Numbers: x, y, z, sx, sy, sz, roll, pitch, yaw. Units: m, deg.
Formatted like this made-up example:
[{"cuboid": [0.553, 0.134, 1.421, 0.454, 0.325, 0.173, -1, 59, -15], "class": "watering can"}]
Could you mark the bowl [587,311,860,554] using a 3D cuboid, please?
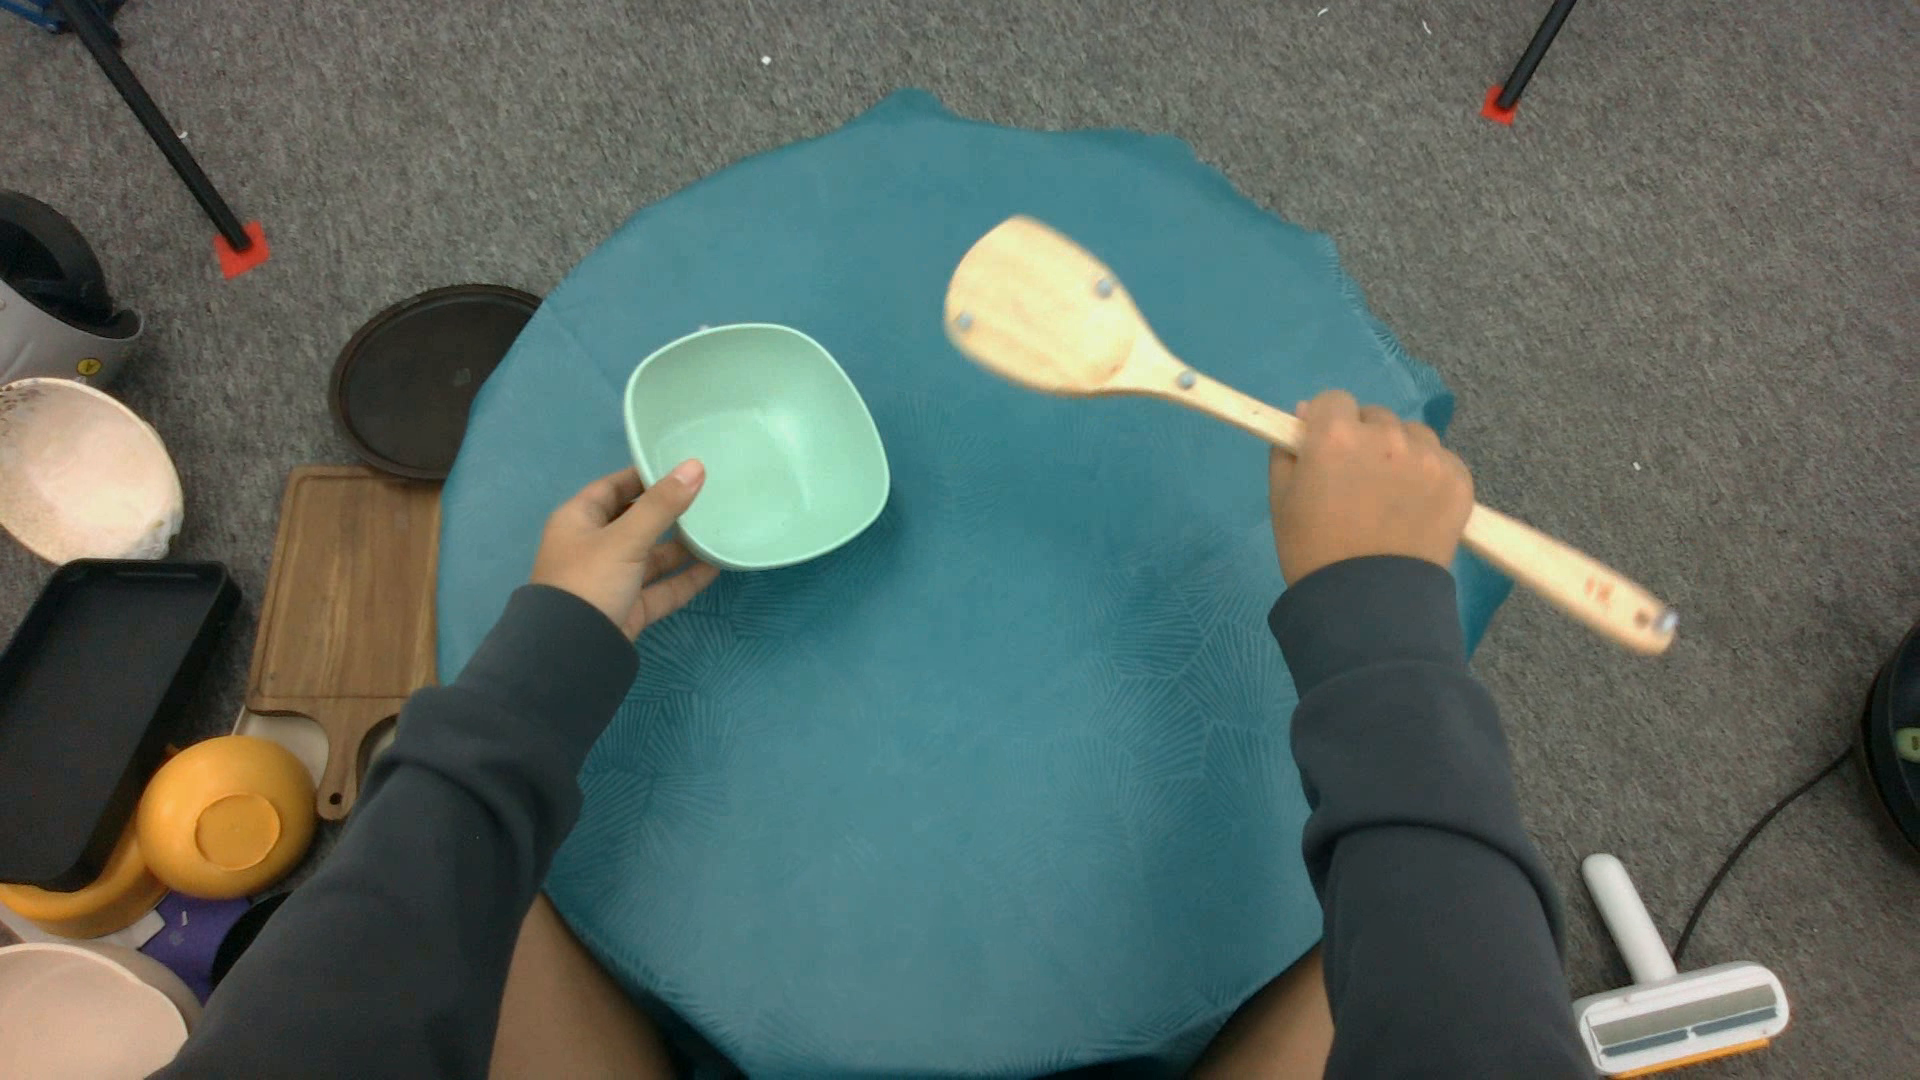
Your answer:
[{"cuboid": [-0.134, -0.050, 0.753, 0.151, 0.058, 0.152, 13, 59, -22], "class": "bowl"}]

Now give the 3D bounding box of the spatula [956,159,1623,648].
[{"cuboid": [0.170, -0.060, 0.686, 0.391, 0.018, 0.096, 32, 61, -2], "class": "spatula"}]
